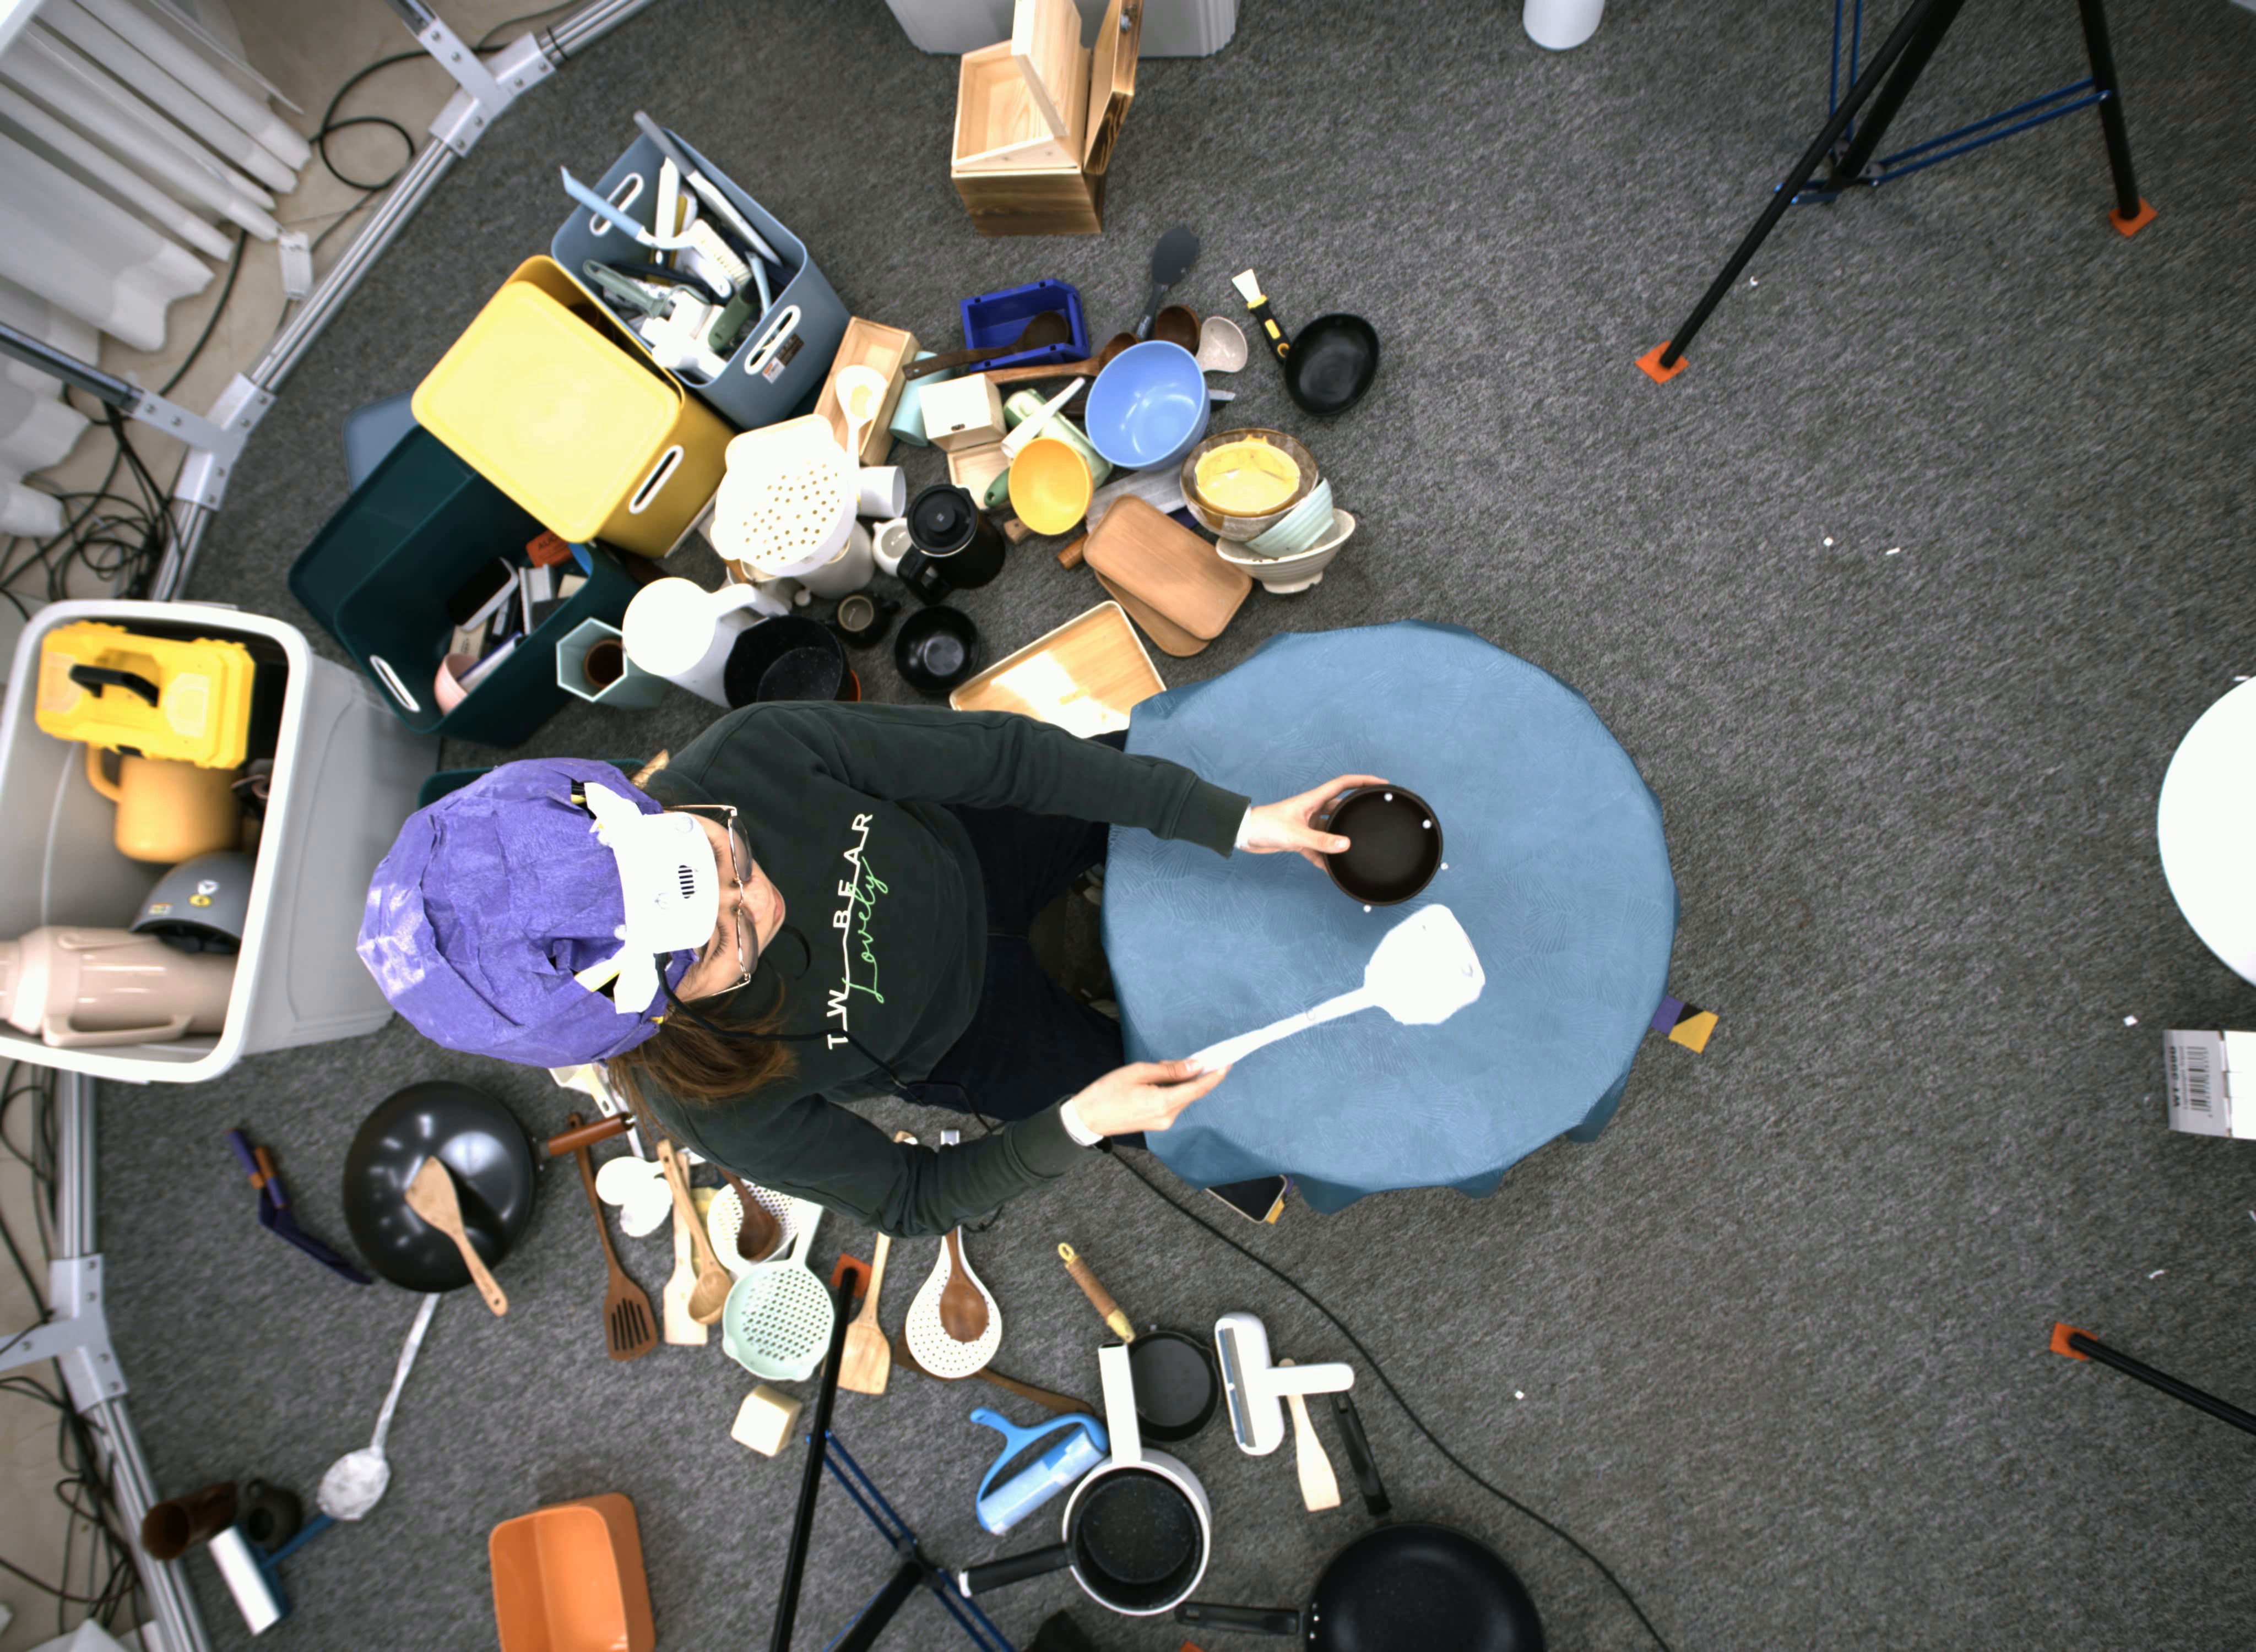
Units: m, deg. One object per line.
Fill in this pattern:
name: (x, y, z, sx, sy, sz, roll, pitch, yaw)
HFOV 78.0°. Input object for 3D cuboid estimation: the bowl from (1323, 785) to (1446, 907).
bowl: (0.252, 0.017, 1.352, 0.118, 0.069, 0.118, 2, 97, 13)

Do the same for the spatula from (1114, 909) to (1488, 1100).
spatula: (0.154, 0.183, 1.287, 0.366, 0.045, 0.097, -22, 67, 5)
